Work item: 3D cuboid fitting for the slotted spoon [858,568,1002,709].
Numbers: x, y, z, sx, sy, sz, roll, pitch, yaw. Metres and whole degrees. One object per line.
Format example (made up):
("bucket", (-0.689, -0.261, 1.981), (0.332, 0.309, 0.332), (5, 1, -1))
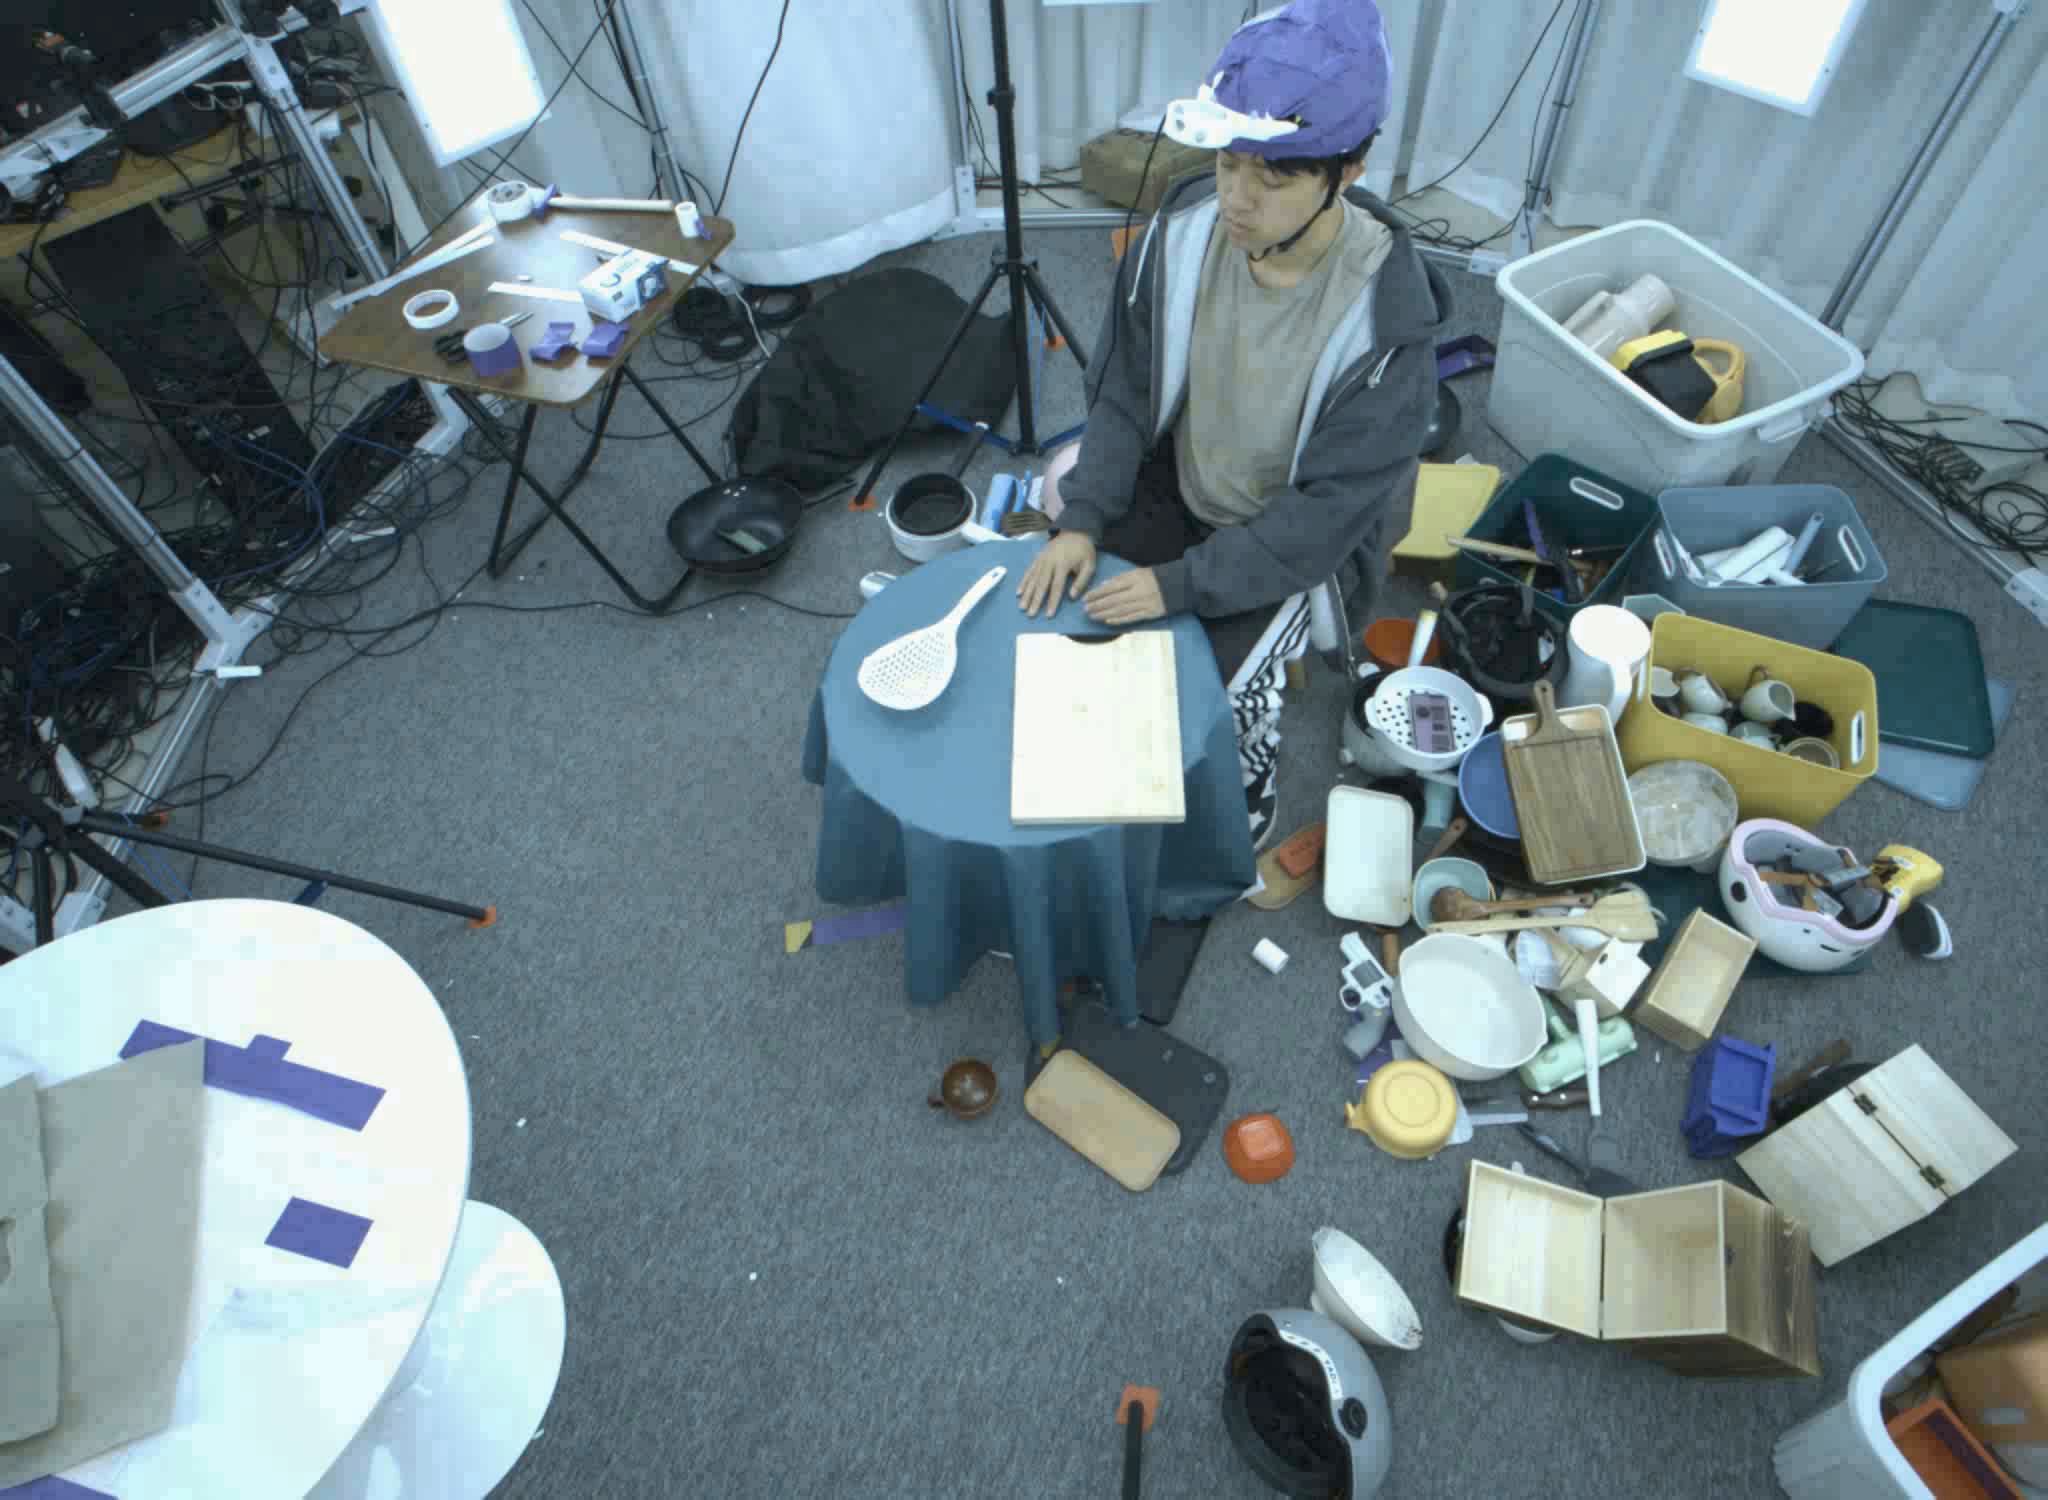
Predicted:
("slotted spoon", (-0.122, -0.182, 1.898), (0.135, 0.051, 0.349), (22, 59, 20))

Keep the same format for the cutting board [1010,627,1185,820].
("cutting board", (0.107, -0.043, 1.807), (0.251, 0.024, 0.345), (-1, 55, 1))
